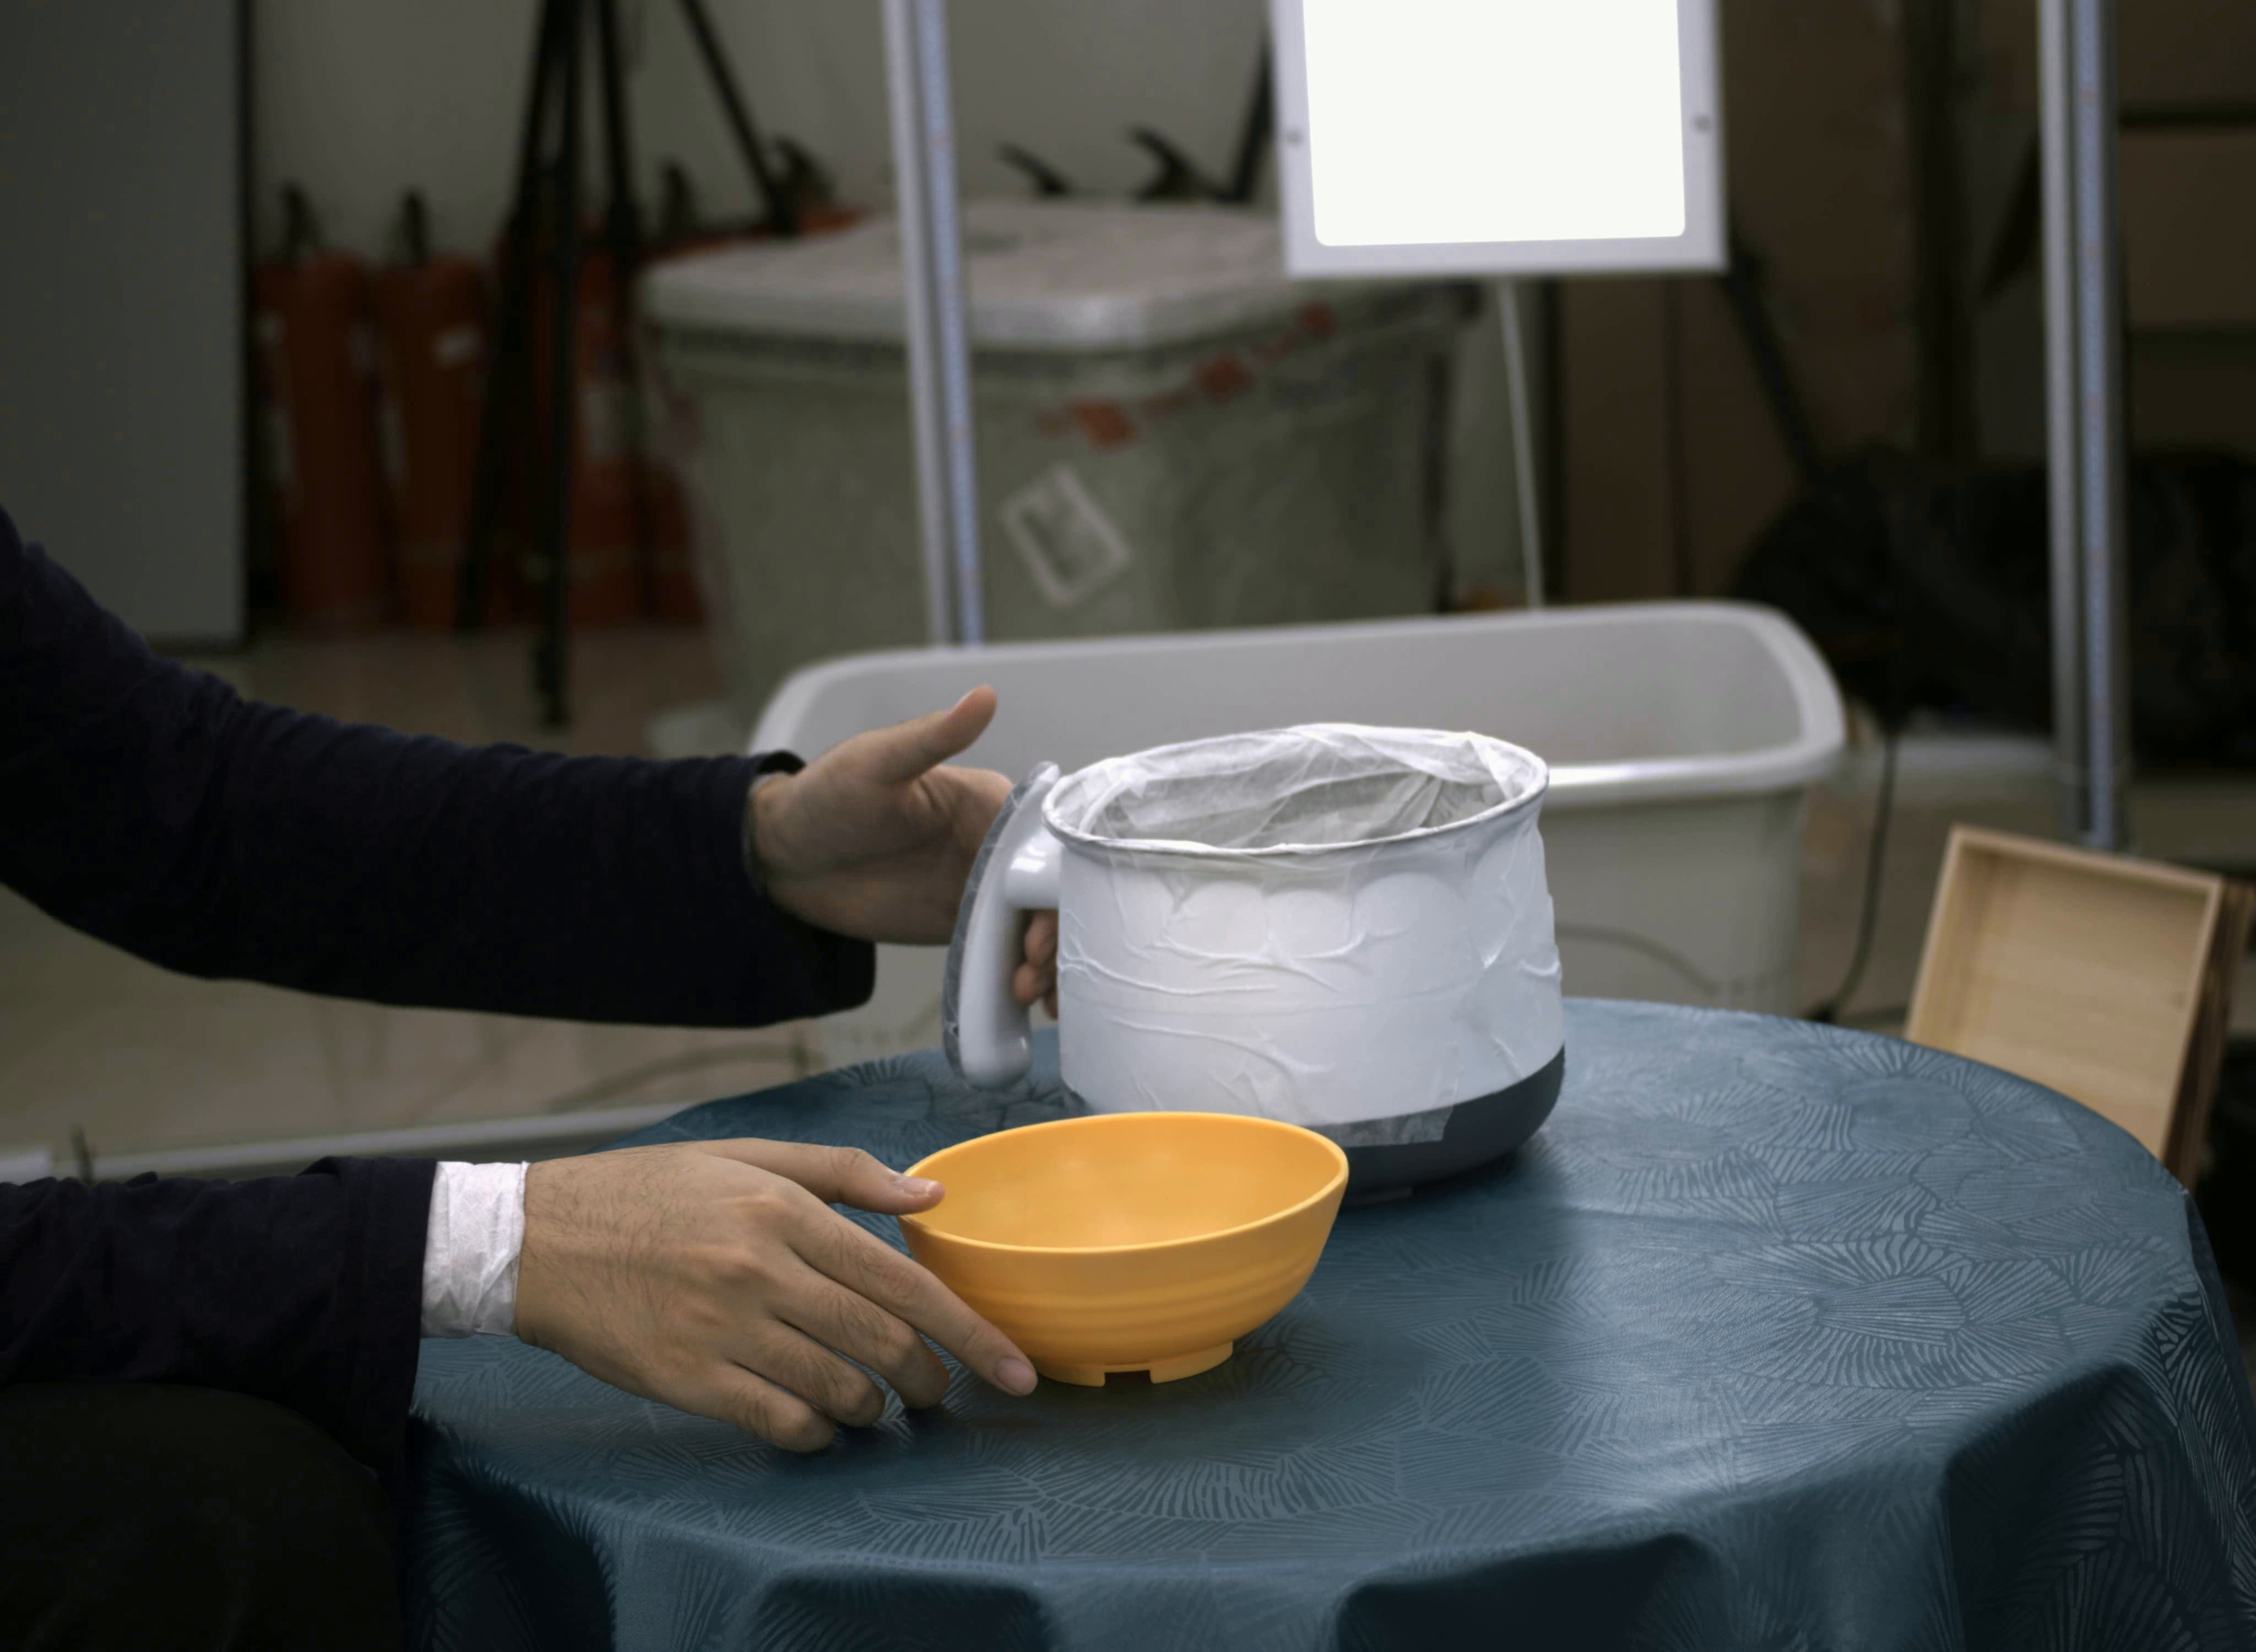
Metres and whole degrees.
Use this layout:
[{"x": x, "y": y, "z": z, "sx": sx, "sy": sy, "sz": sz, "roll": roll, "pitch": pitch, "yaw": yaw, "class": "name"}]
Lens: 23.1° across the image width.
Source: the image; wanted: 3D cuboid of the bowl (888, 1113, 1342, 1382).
[{"x": -0.002, "y": 0.136, "z": 1.731, "sx": 0.145, "sy": 0.060, "sz": 0.145, "roll": -4, "pitch": 13, "yaw": 0, "class": "bowl"}]

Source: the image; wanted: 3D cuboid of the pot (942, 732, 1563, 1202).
[{"x": 0.038, "y": 0.046, "z": 1.929, "sx": 0.238, "sy": 0.137, "sz": 0.175, "roll": 3, "pitch": 13, "yaw": 28, "class": "pot"}]
